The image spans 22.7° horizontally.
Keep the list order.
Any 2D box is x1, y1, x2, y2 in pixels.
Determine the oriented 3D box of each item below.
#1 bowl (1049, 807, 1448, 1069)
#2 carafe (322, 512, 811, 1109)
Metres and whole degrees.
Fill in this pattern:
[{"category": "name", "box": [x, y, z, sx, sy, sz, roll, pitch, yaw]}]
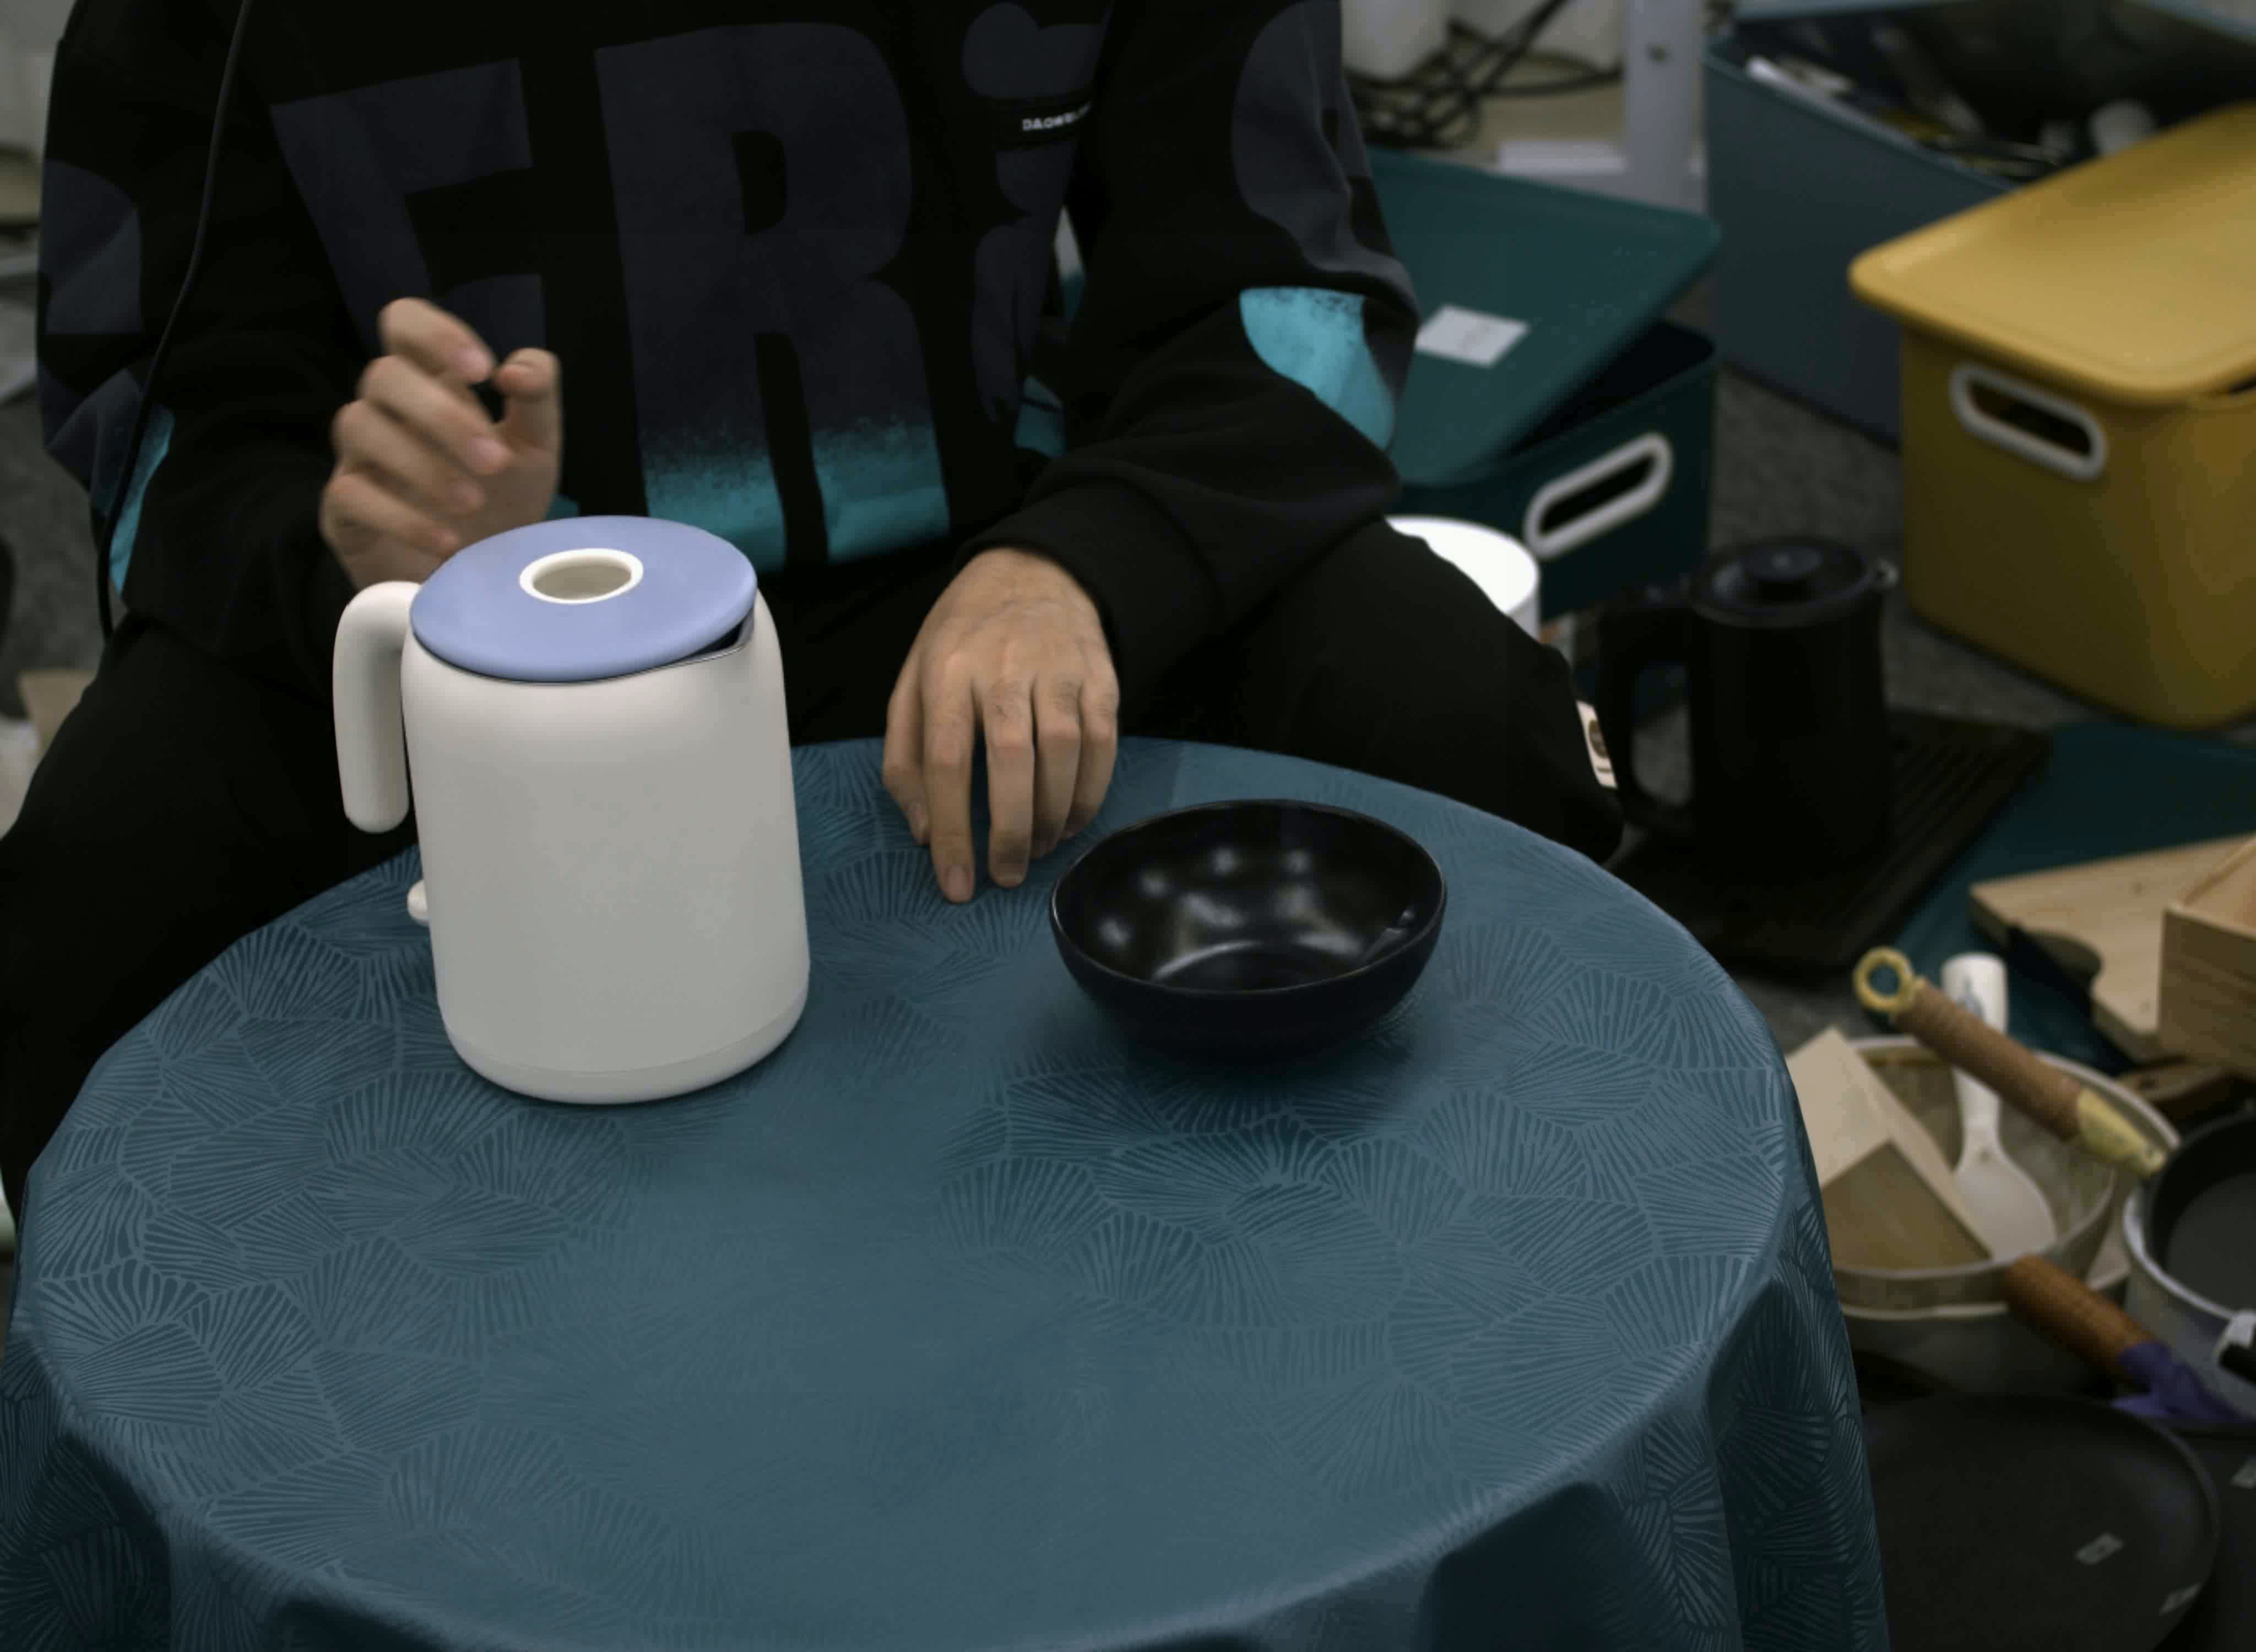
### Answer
[{"category": "bowl", "box": [0.043, 0.046, 1.950, 0.139, 0.049, 0.142, -3, 26, 2]}, {"category": "carafe", "box": [-0.201, -0.010, 1.951, 0.190, 0.181, 0.134, 11, 29, 30]}]
